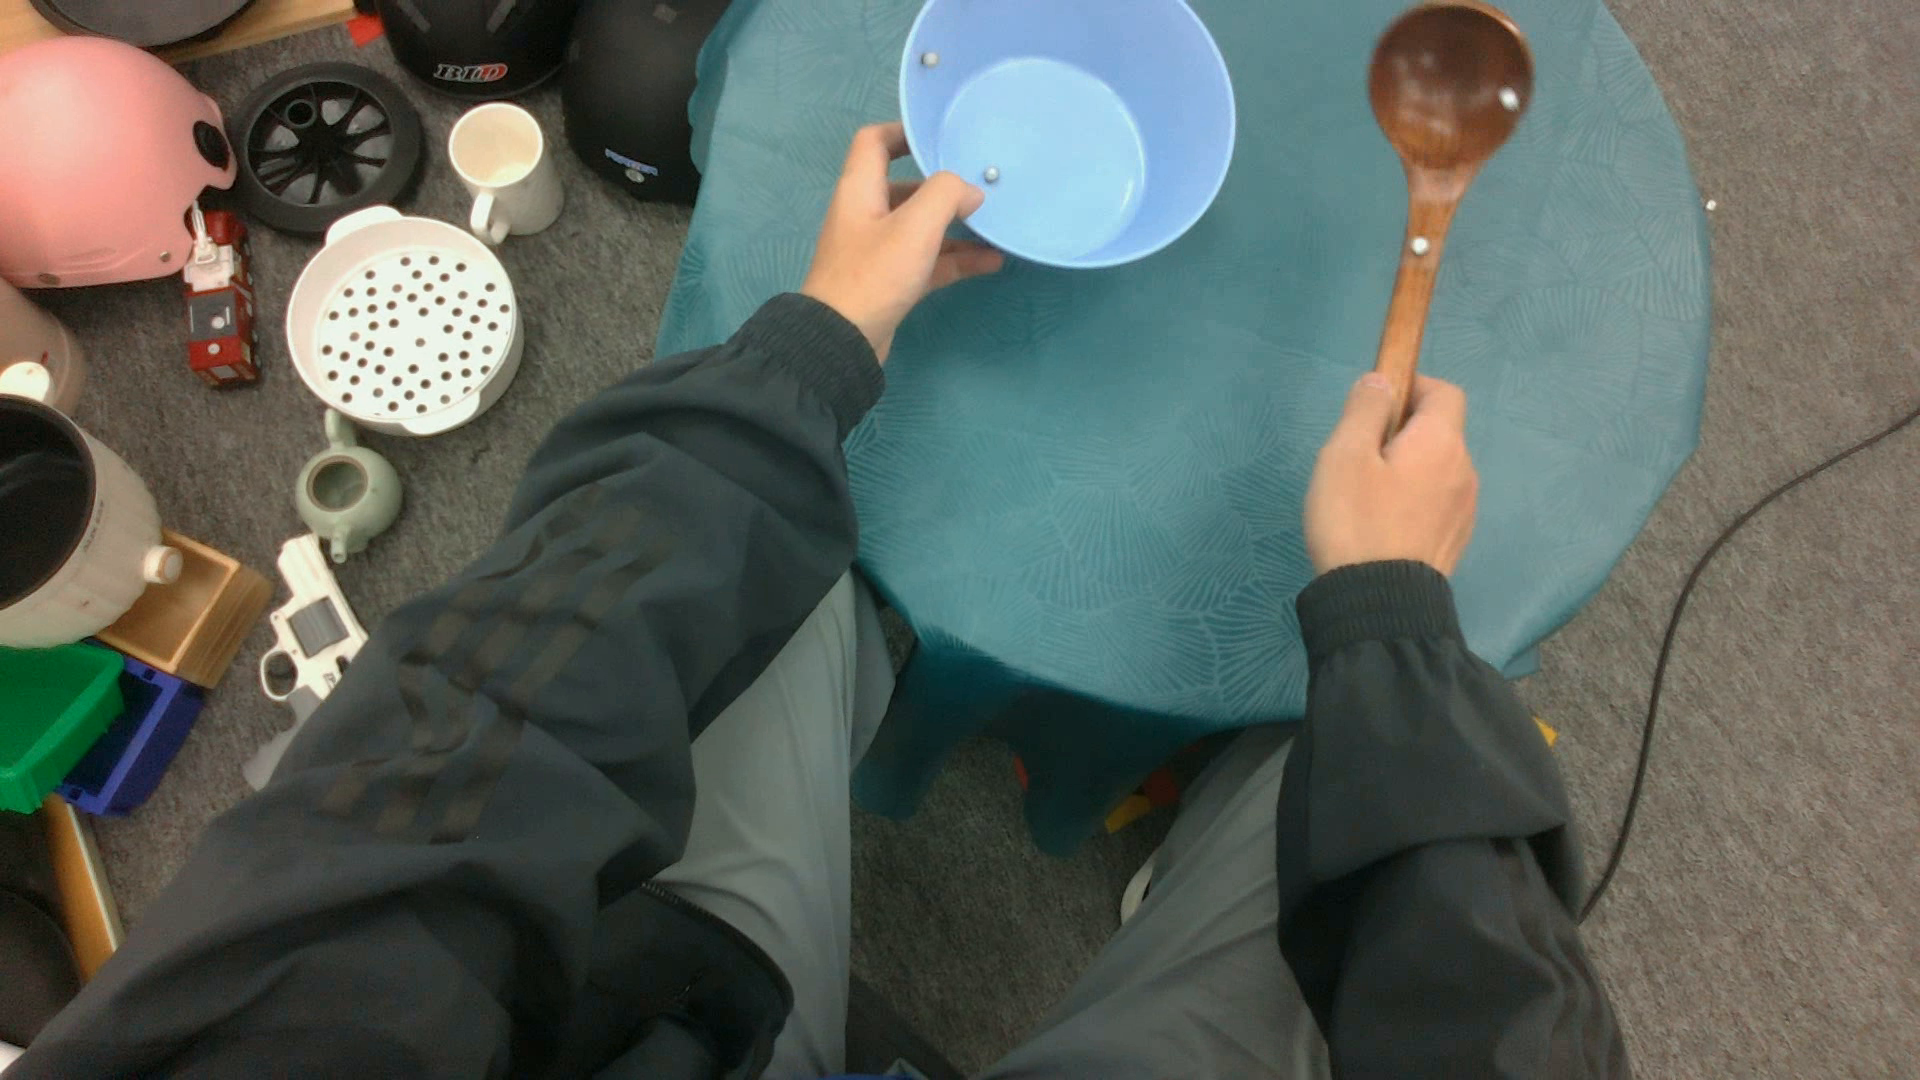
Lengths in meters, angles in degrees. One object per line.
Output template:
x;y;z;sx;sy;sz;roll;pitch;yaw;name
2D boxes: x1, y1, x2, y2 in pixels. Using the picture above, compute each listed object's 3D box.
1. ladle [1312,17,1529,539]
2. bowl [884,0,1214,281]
0.224;-0.137;0.696;0.082;0.076;0.275;12;72;20;ladle
0.044;-0.211;0.748;0.176;0.070;0.176;2;77;-8;bowl
